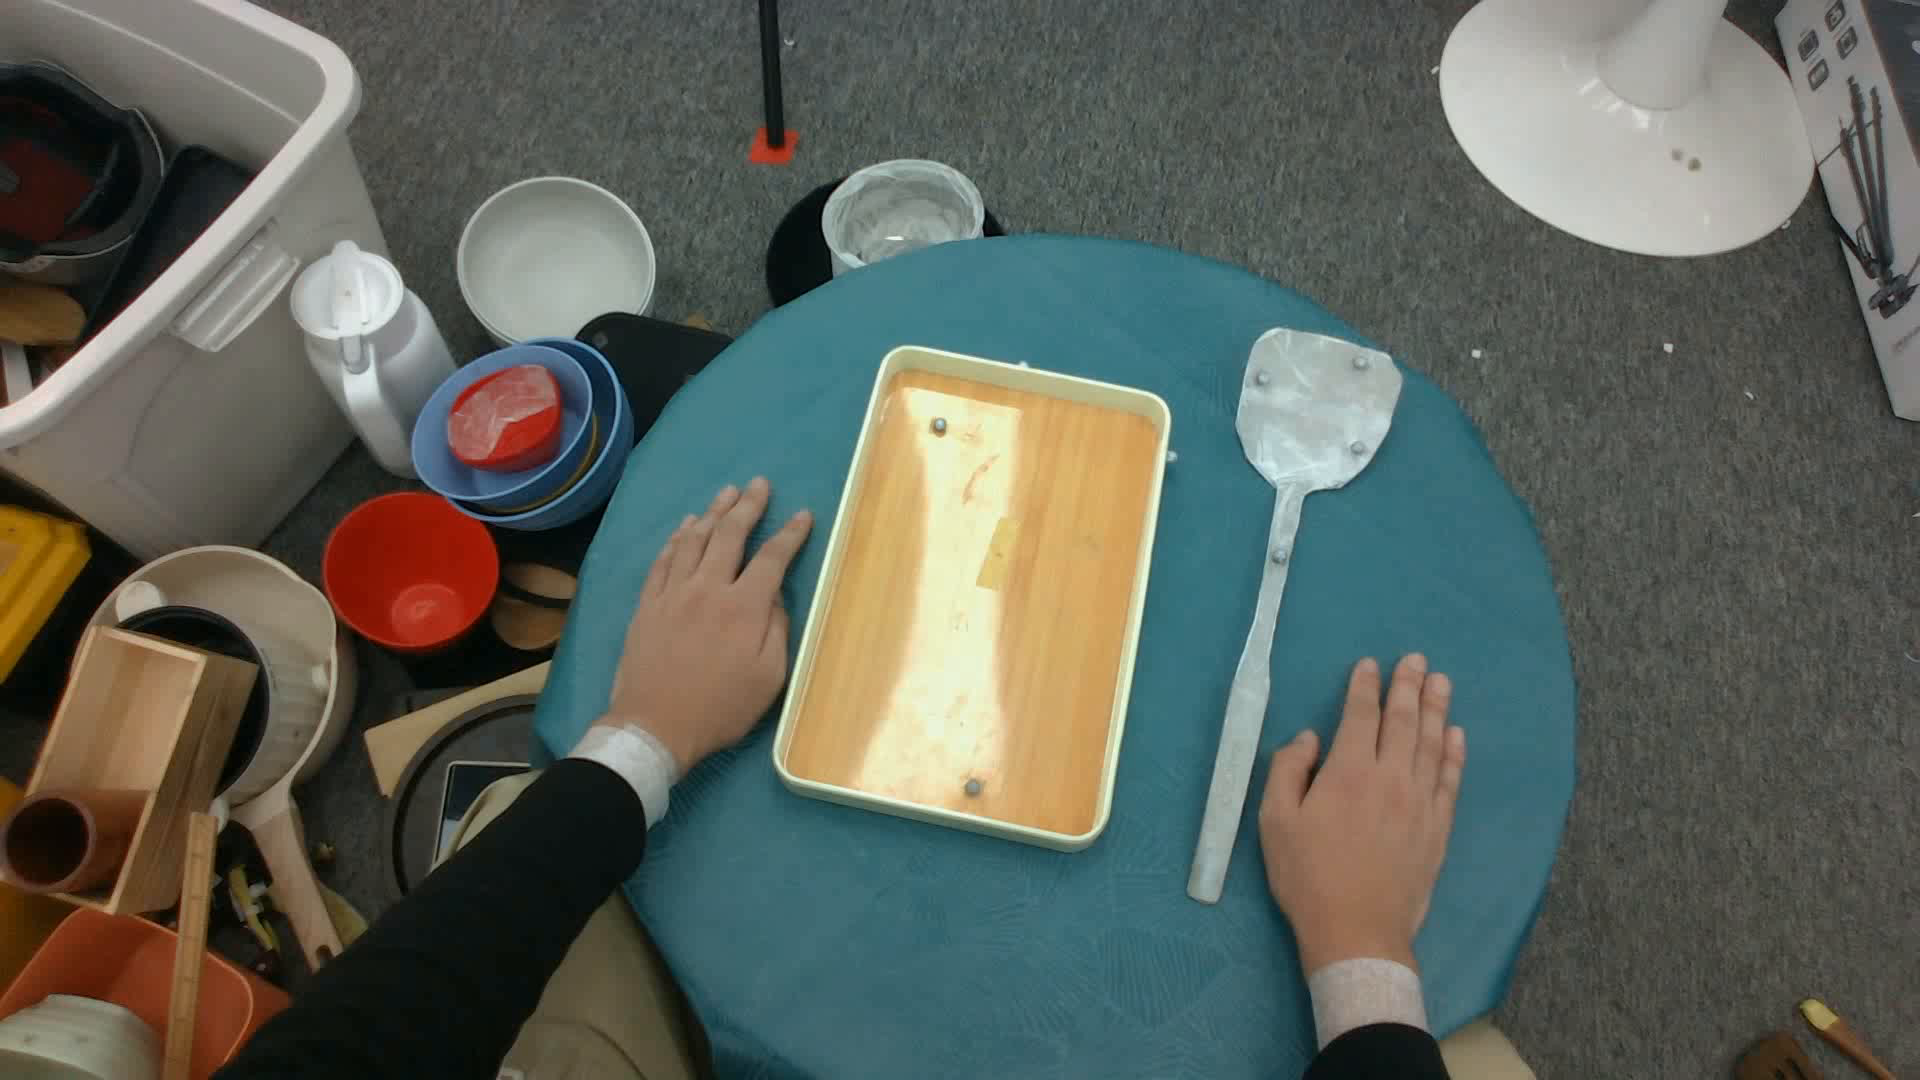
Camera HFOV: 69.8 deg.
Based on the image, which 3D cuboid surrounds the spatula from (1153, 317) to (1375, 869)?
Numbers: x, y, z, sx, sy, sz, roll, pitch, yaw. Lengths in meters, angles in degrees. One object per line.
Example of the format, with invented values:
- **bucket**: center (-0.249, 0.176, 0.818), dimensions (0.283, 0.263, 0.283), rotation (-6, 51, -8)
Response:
- **spatula**: center (0.172, 0.023, 0.829), dimensions (0.098, 0.044, 0.366), rotation (17, 63, 4)

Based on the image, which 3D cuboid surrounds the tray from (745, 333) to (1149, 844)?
- **tray**: center (0.000, 0.018, 0.825), dimensions (0.191, 0.027, 0.301), rotation (12, 63, 2)
